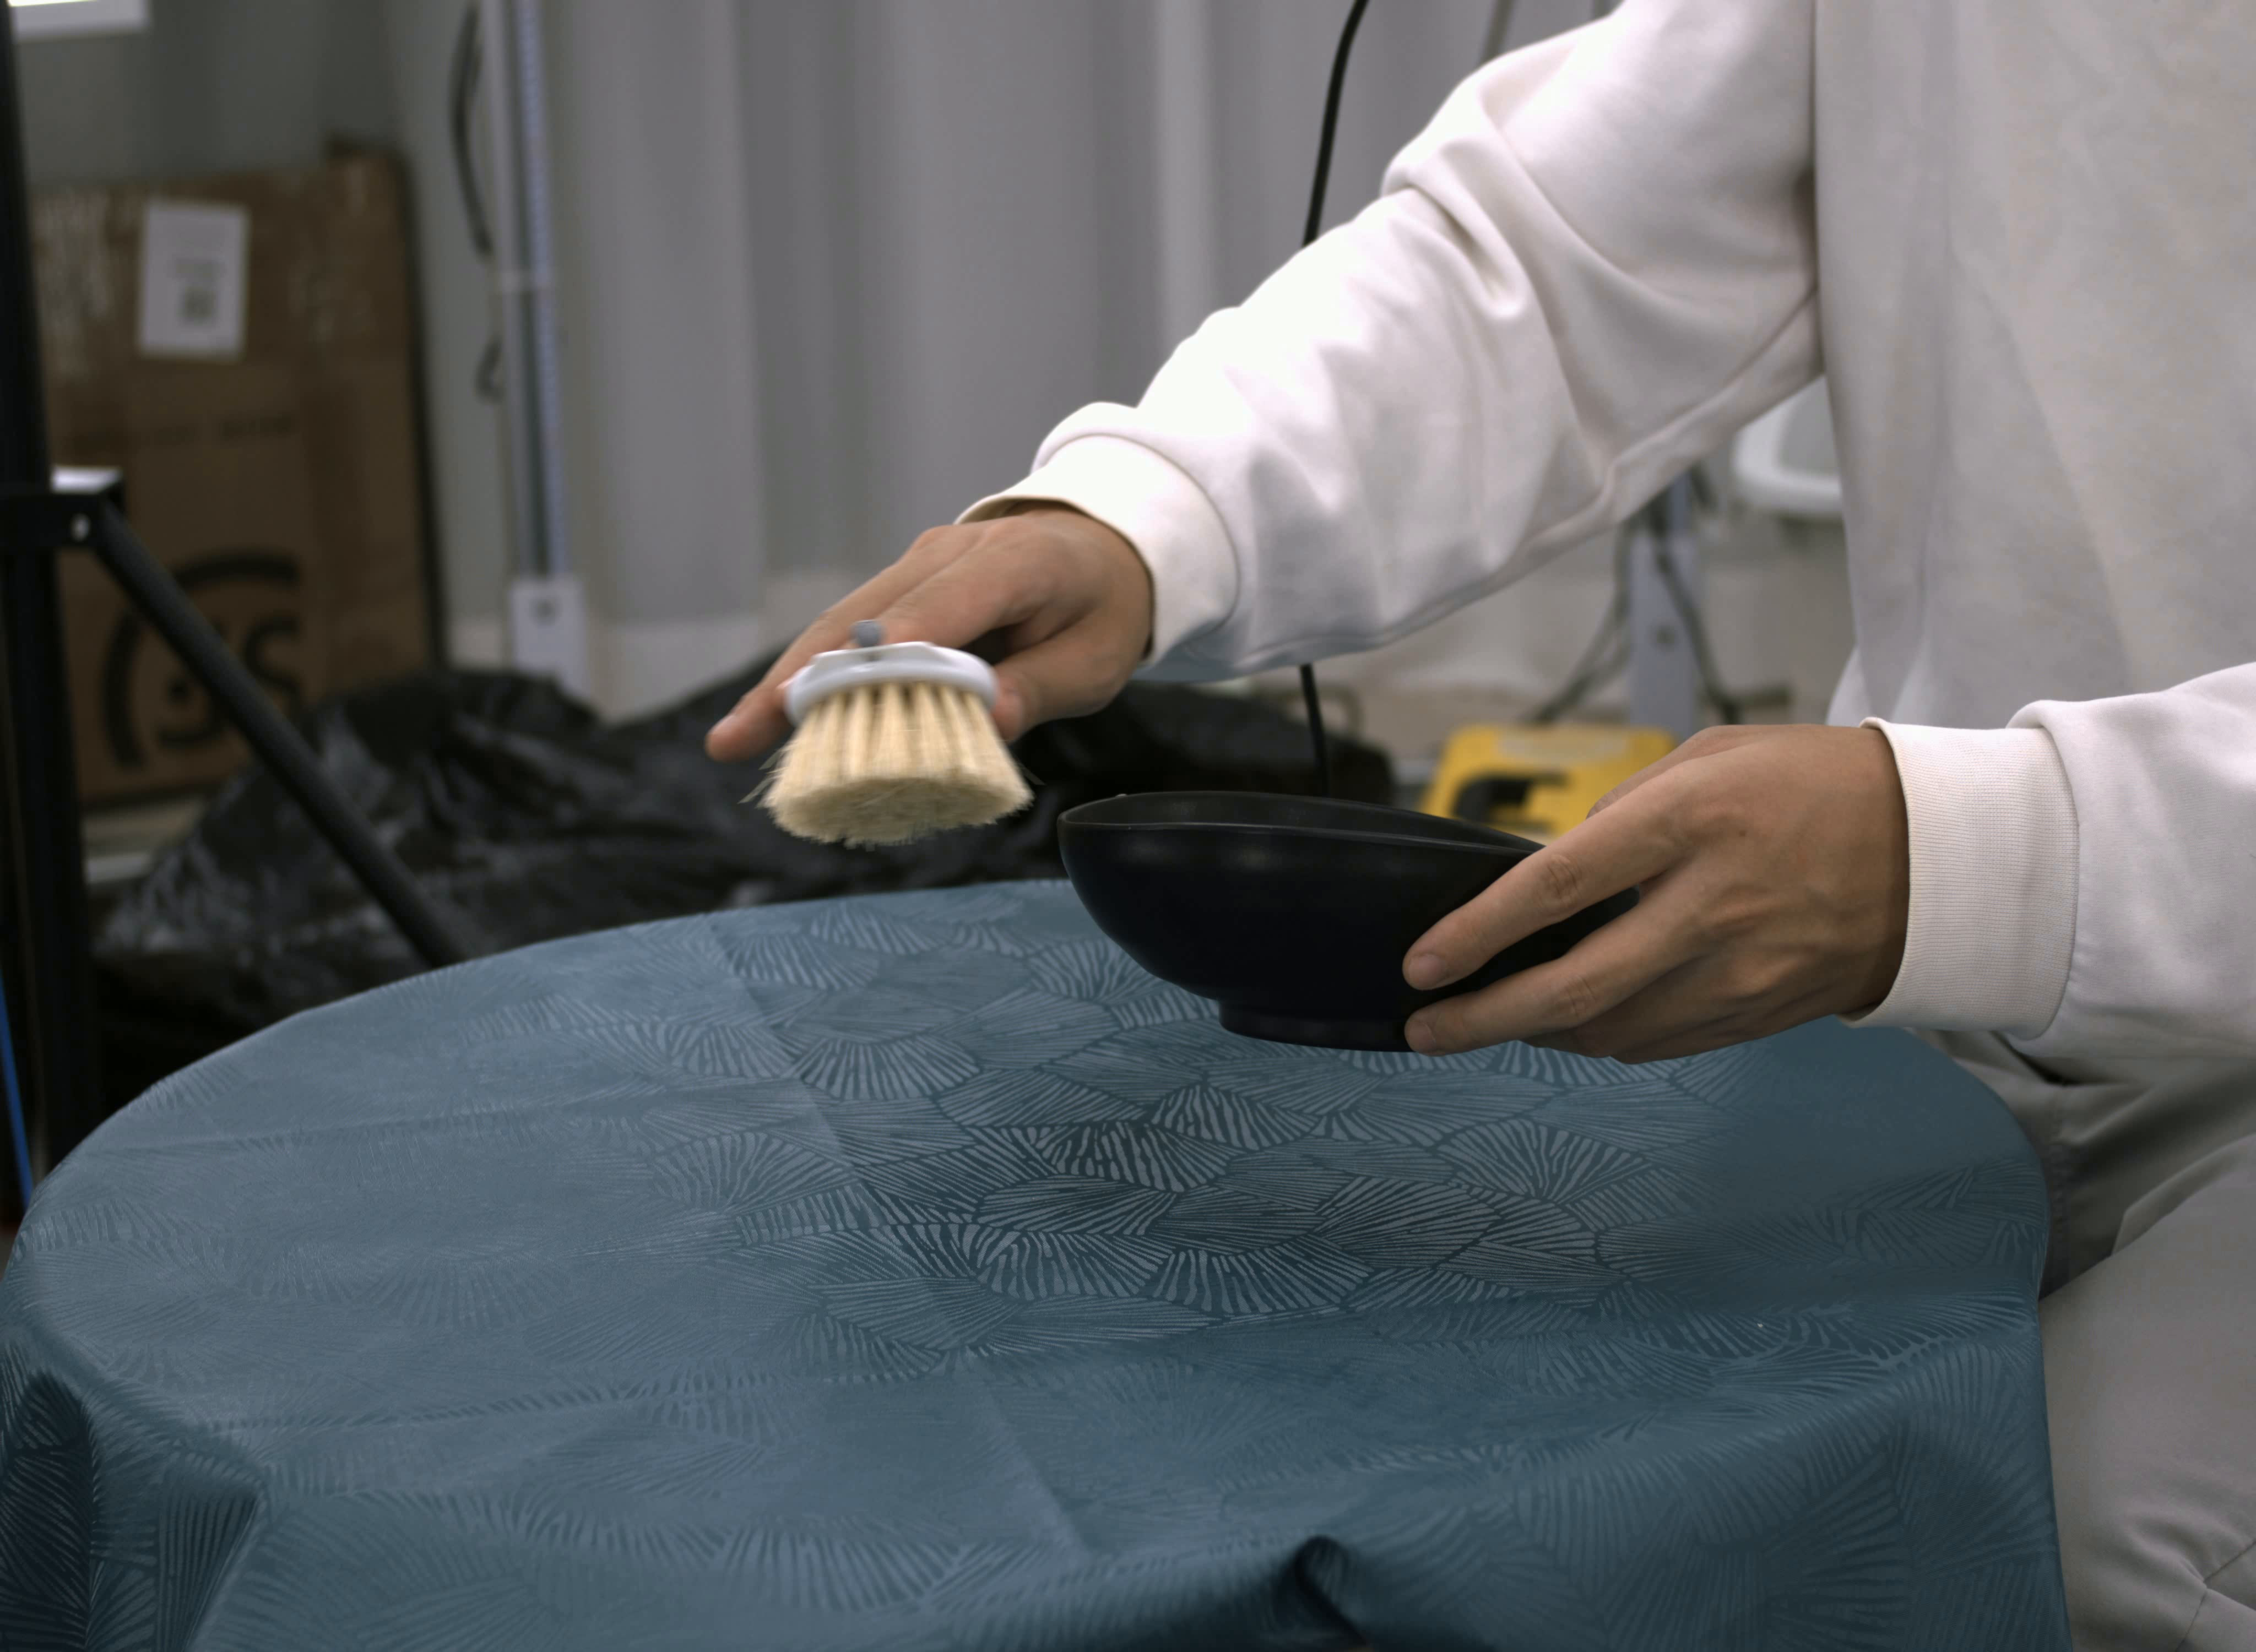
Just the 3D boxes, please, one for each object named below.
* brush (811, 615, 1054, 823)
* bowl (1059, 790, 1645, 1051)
[{"bbox_3d":[-0.053,-0.028,1.602,0.068,0.056,0.266,2,-1,1],"label":"brush"},{"bbox_3d":[0.061,0.028,1.510,0.168,0.067,0.138,6,3,-9],"label":"bowl"}]
